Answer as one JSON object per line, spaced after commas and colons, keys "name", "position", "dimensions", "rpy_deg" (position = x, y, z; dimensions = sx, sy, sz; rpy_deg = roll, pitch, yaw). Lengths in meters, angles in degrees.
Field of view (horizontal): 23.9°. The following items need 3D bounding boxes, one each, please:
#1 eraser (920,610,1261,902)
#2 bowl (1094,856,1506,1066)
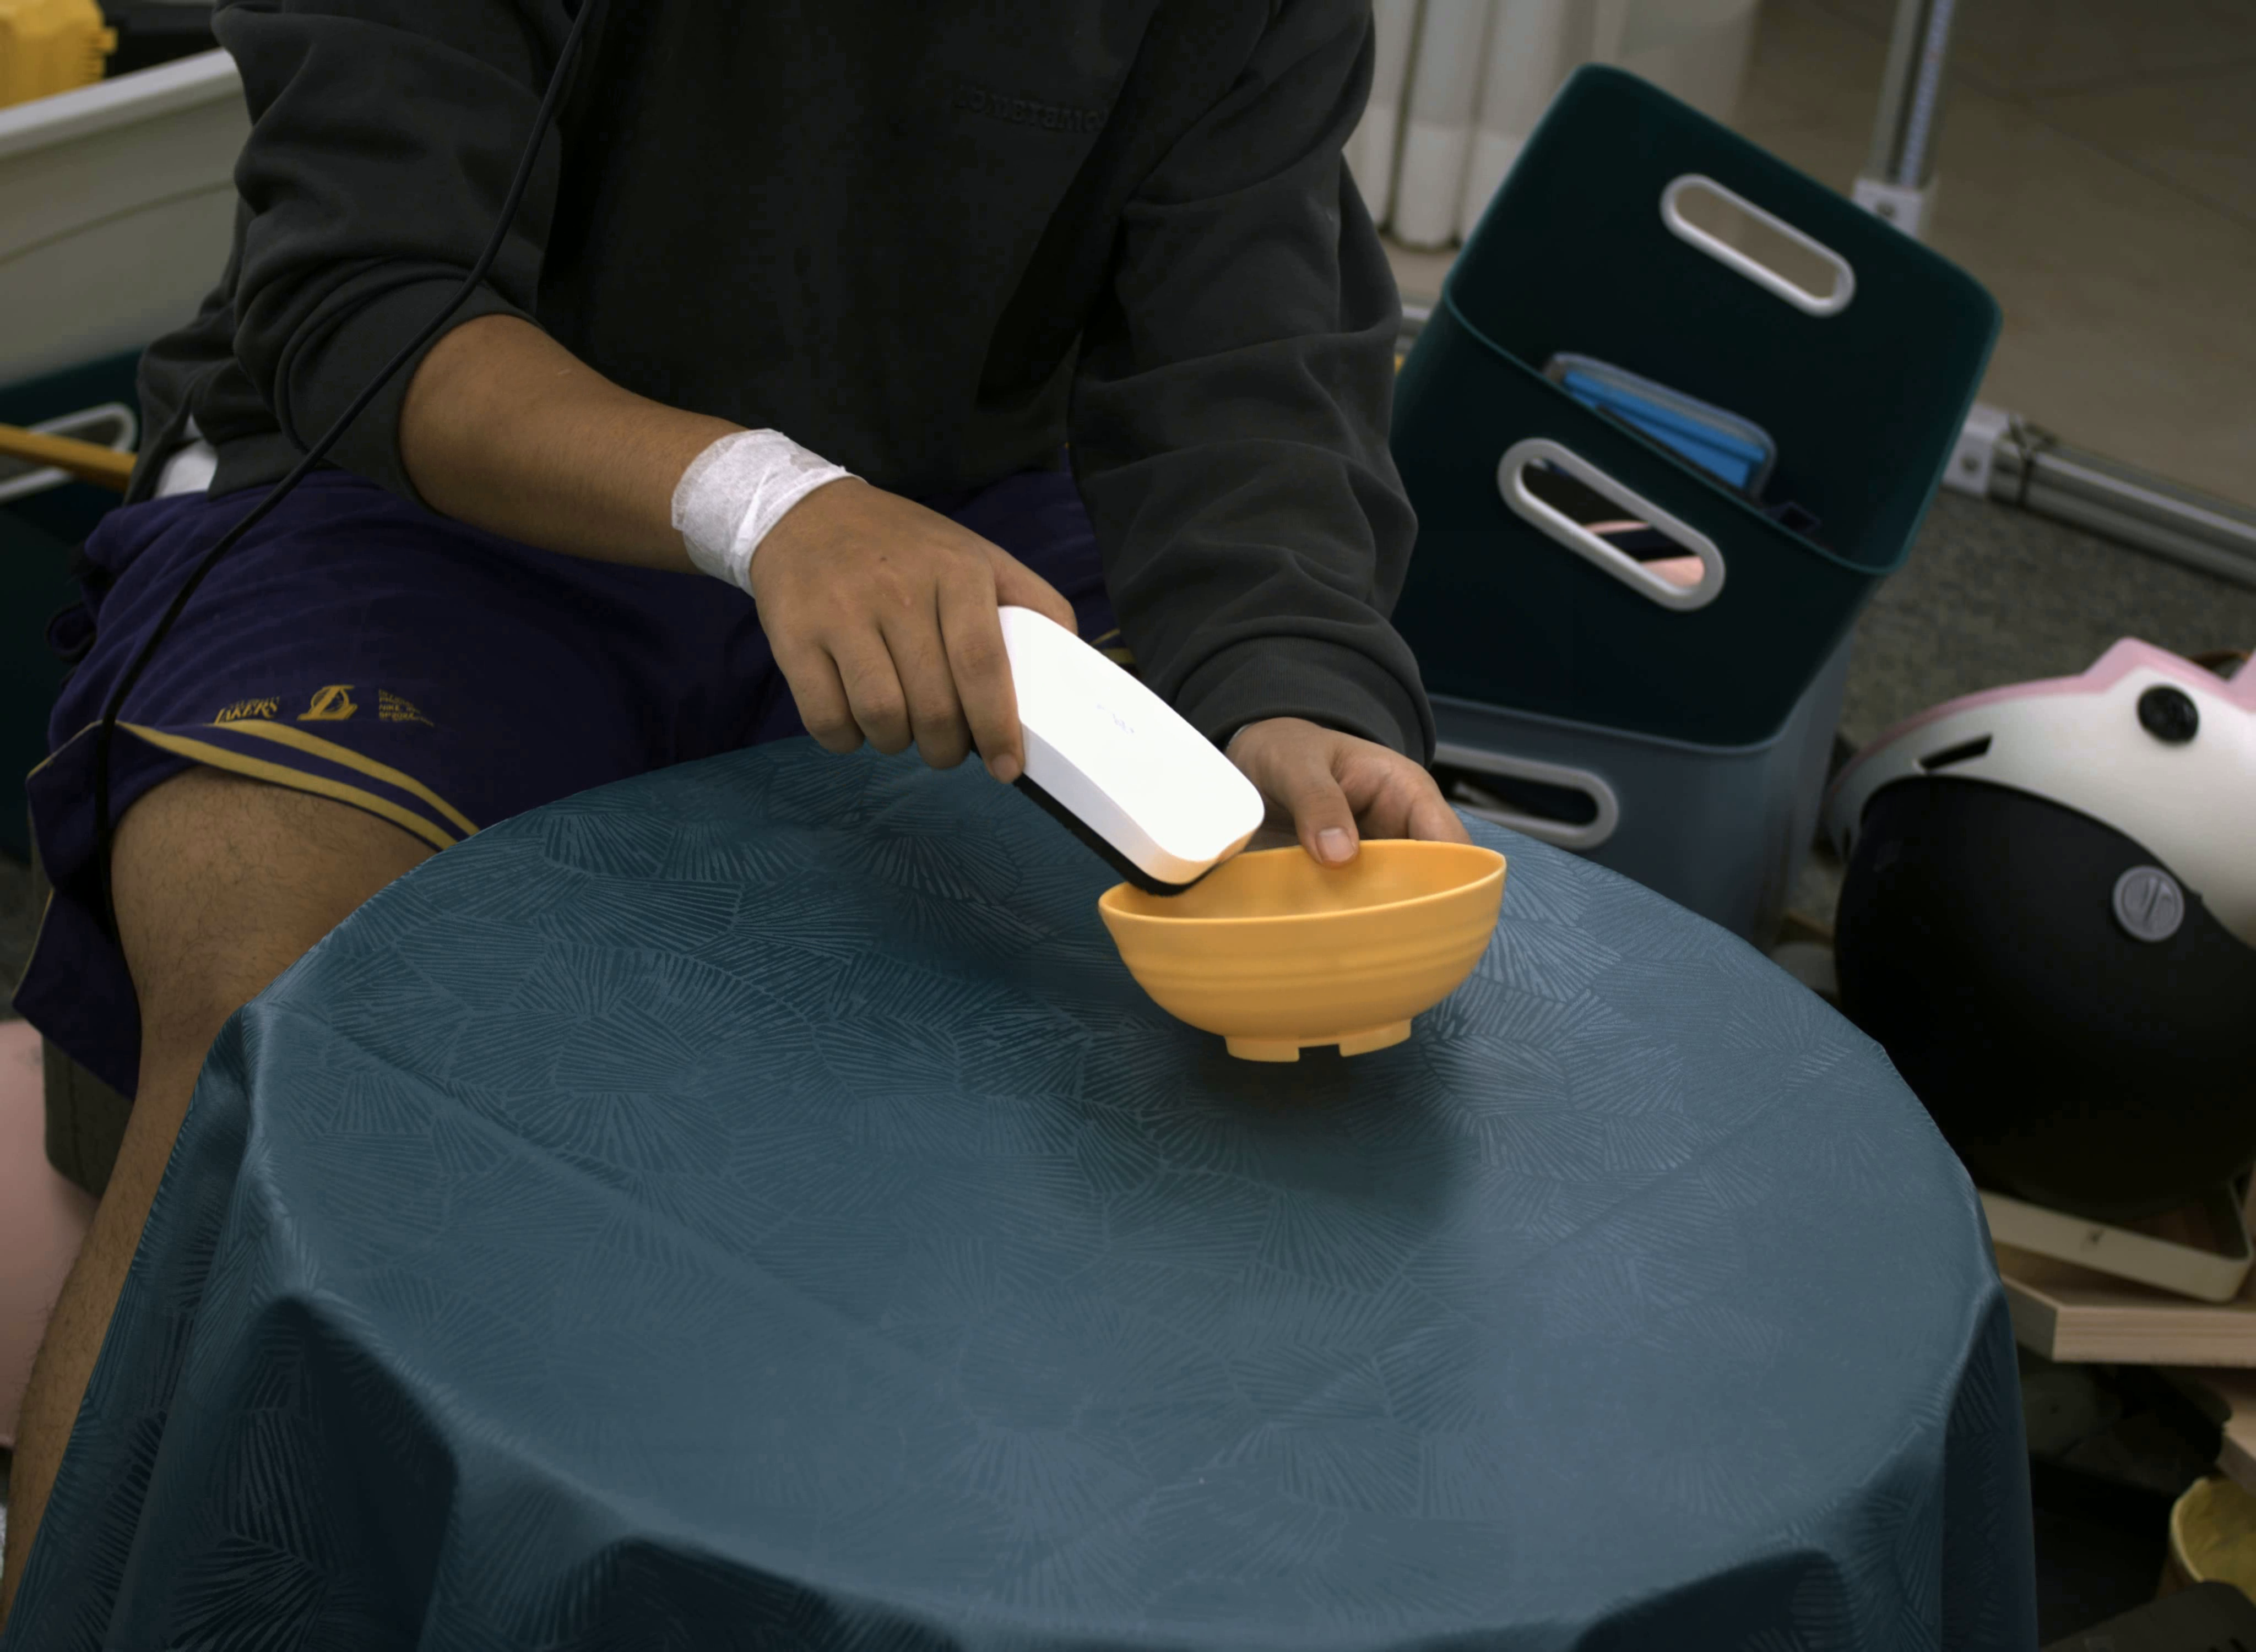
{"name": "eraser", "position": [-0.013, -0.028, 1.918], "dimensions": [0.132, 0.034, 0.063], "rpy_deg": [41, 40, 18]}
{"name": "bowl", "position": [0.063, 0.049, 1.862], "dimensions": [0.145, 0.060, 0.145], "rpy_deg": [-6, 6, 0]}
